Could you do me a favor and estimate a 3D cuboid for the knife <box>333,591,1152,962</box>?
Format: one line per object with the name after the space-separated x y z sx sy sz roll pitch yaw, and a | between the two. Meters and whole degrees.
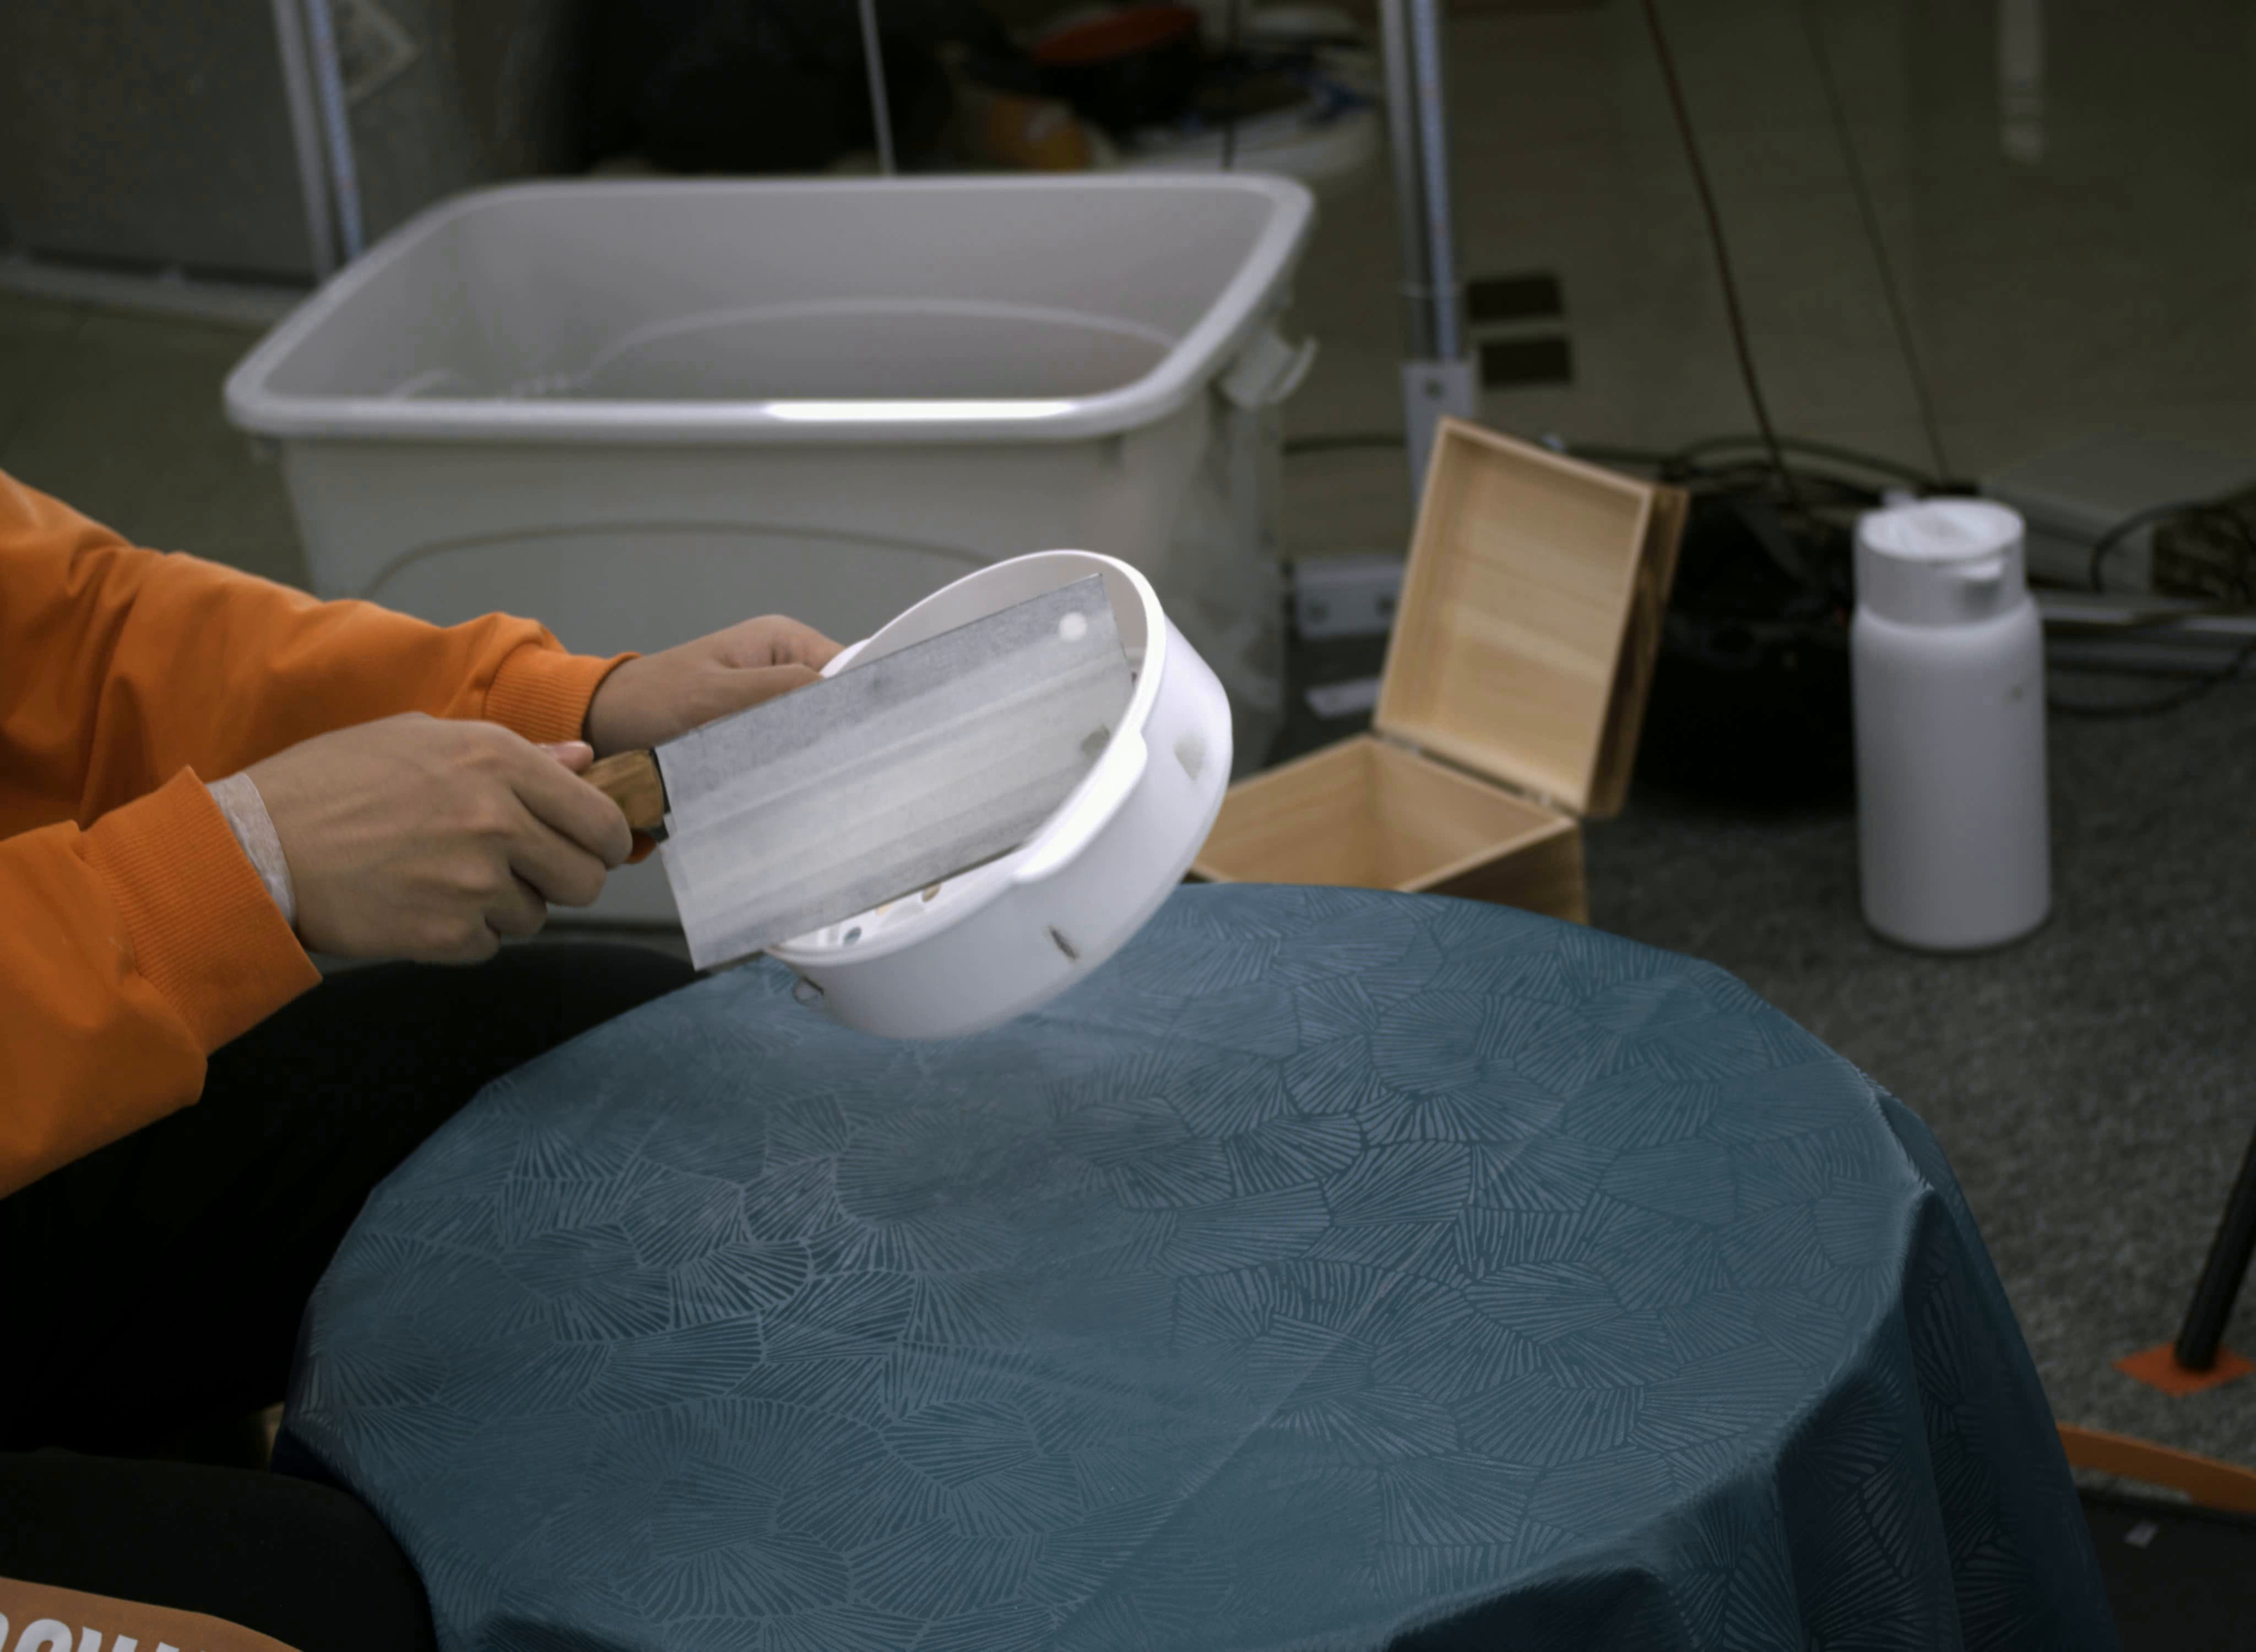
-0.135 -0.002 2.059 0.304 0.094 0.021 -19 26 -14 | knife

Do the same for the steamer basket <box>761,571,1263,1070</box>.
-0.043 -0.001 2.127 0.201 0.070 0.228 -50 37 -13 | steamer basket
